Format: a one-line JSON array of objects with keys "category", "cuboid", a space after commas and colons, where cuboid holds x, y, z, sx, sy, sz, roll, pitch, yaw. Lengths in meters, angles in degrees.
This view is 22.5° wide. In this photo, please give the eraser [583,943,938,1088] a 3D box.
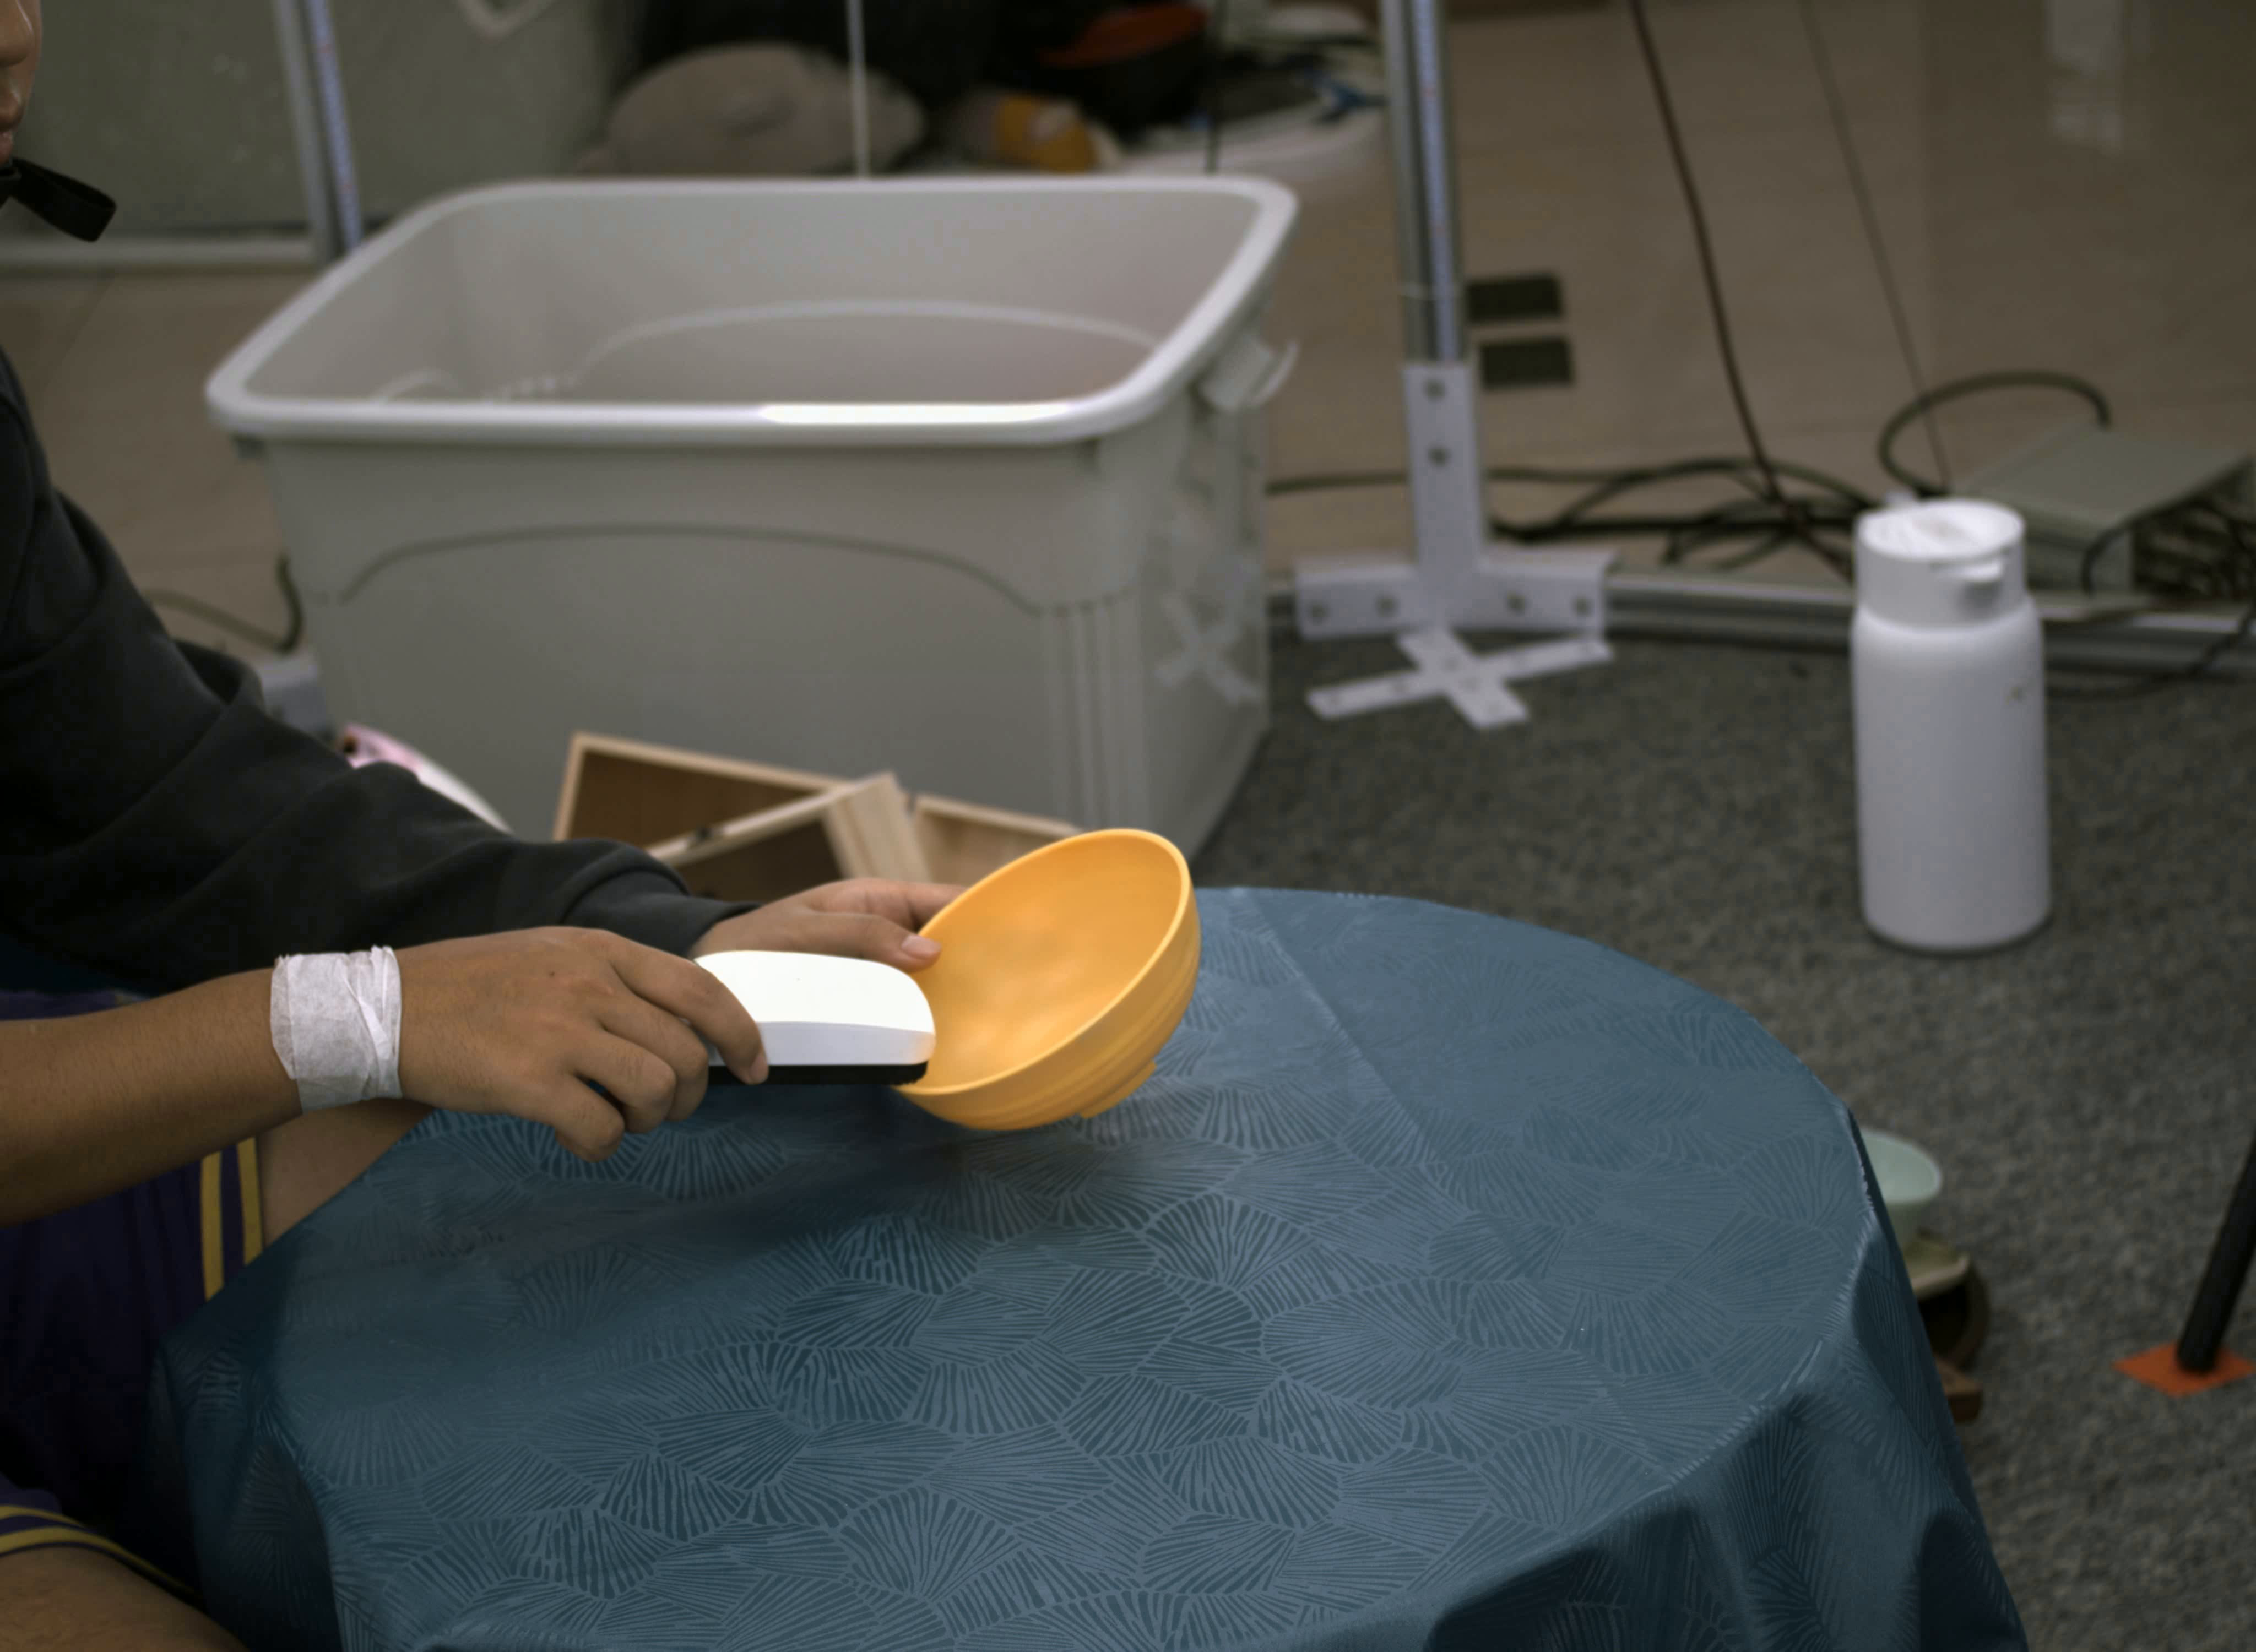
[{"category": "eraser", "cuboid": [-0.140, 0.073, 2.142, 0.131, 0.035, 0.062, 2, 23, -20]}]

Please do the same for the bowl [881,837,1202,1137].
[{"category": "bowl", "cuboid": [-0.024, 0.074, 2.180, 0.146, 0.061, 0.143, -28, 29, 17]}]
